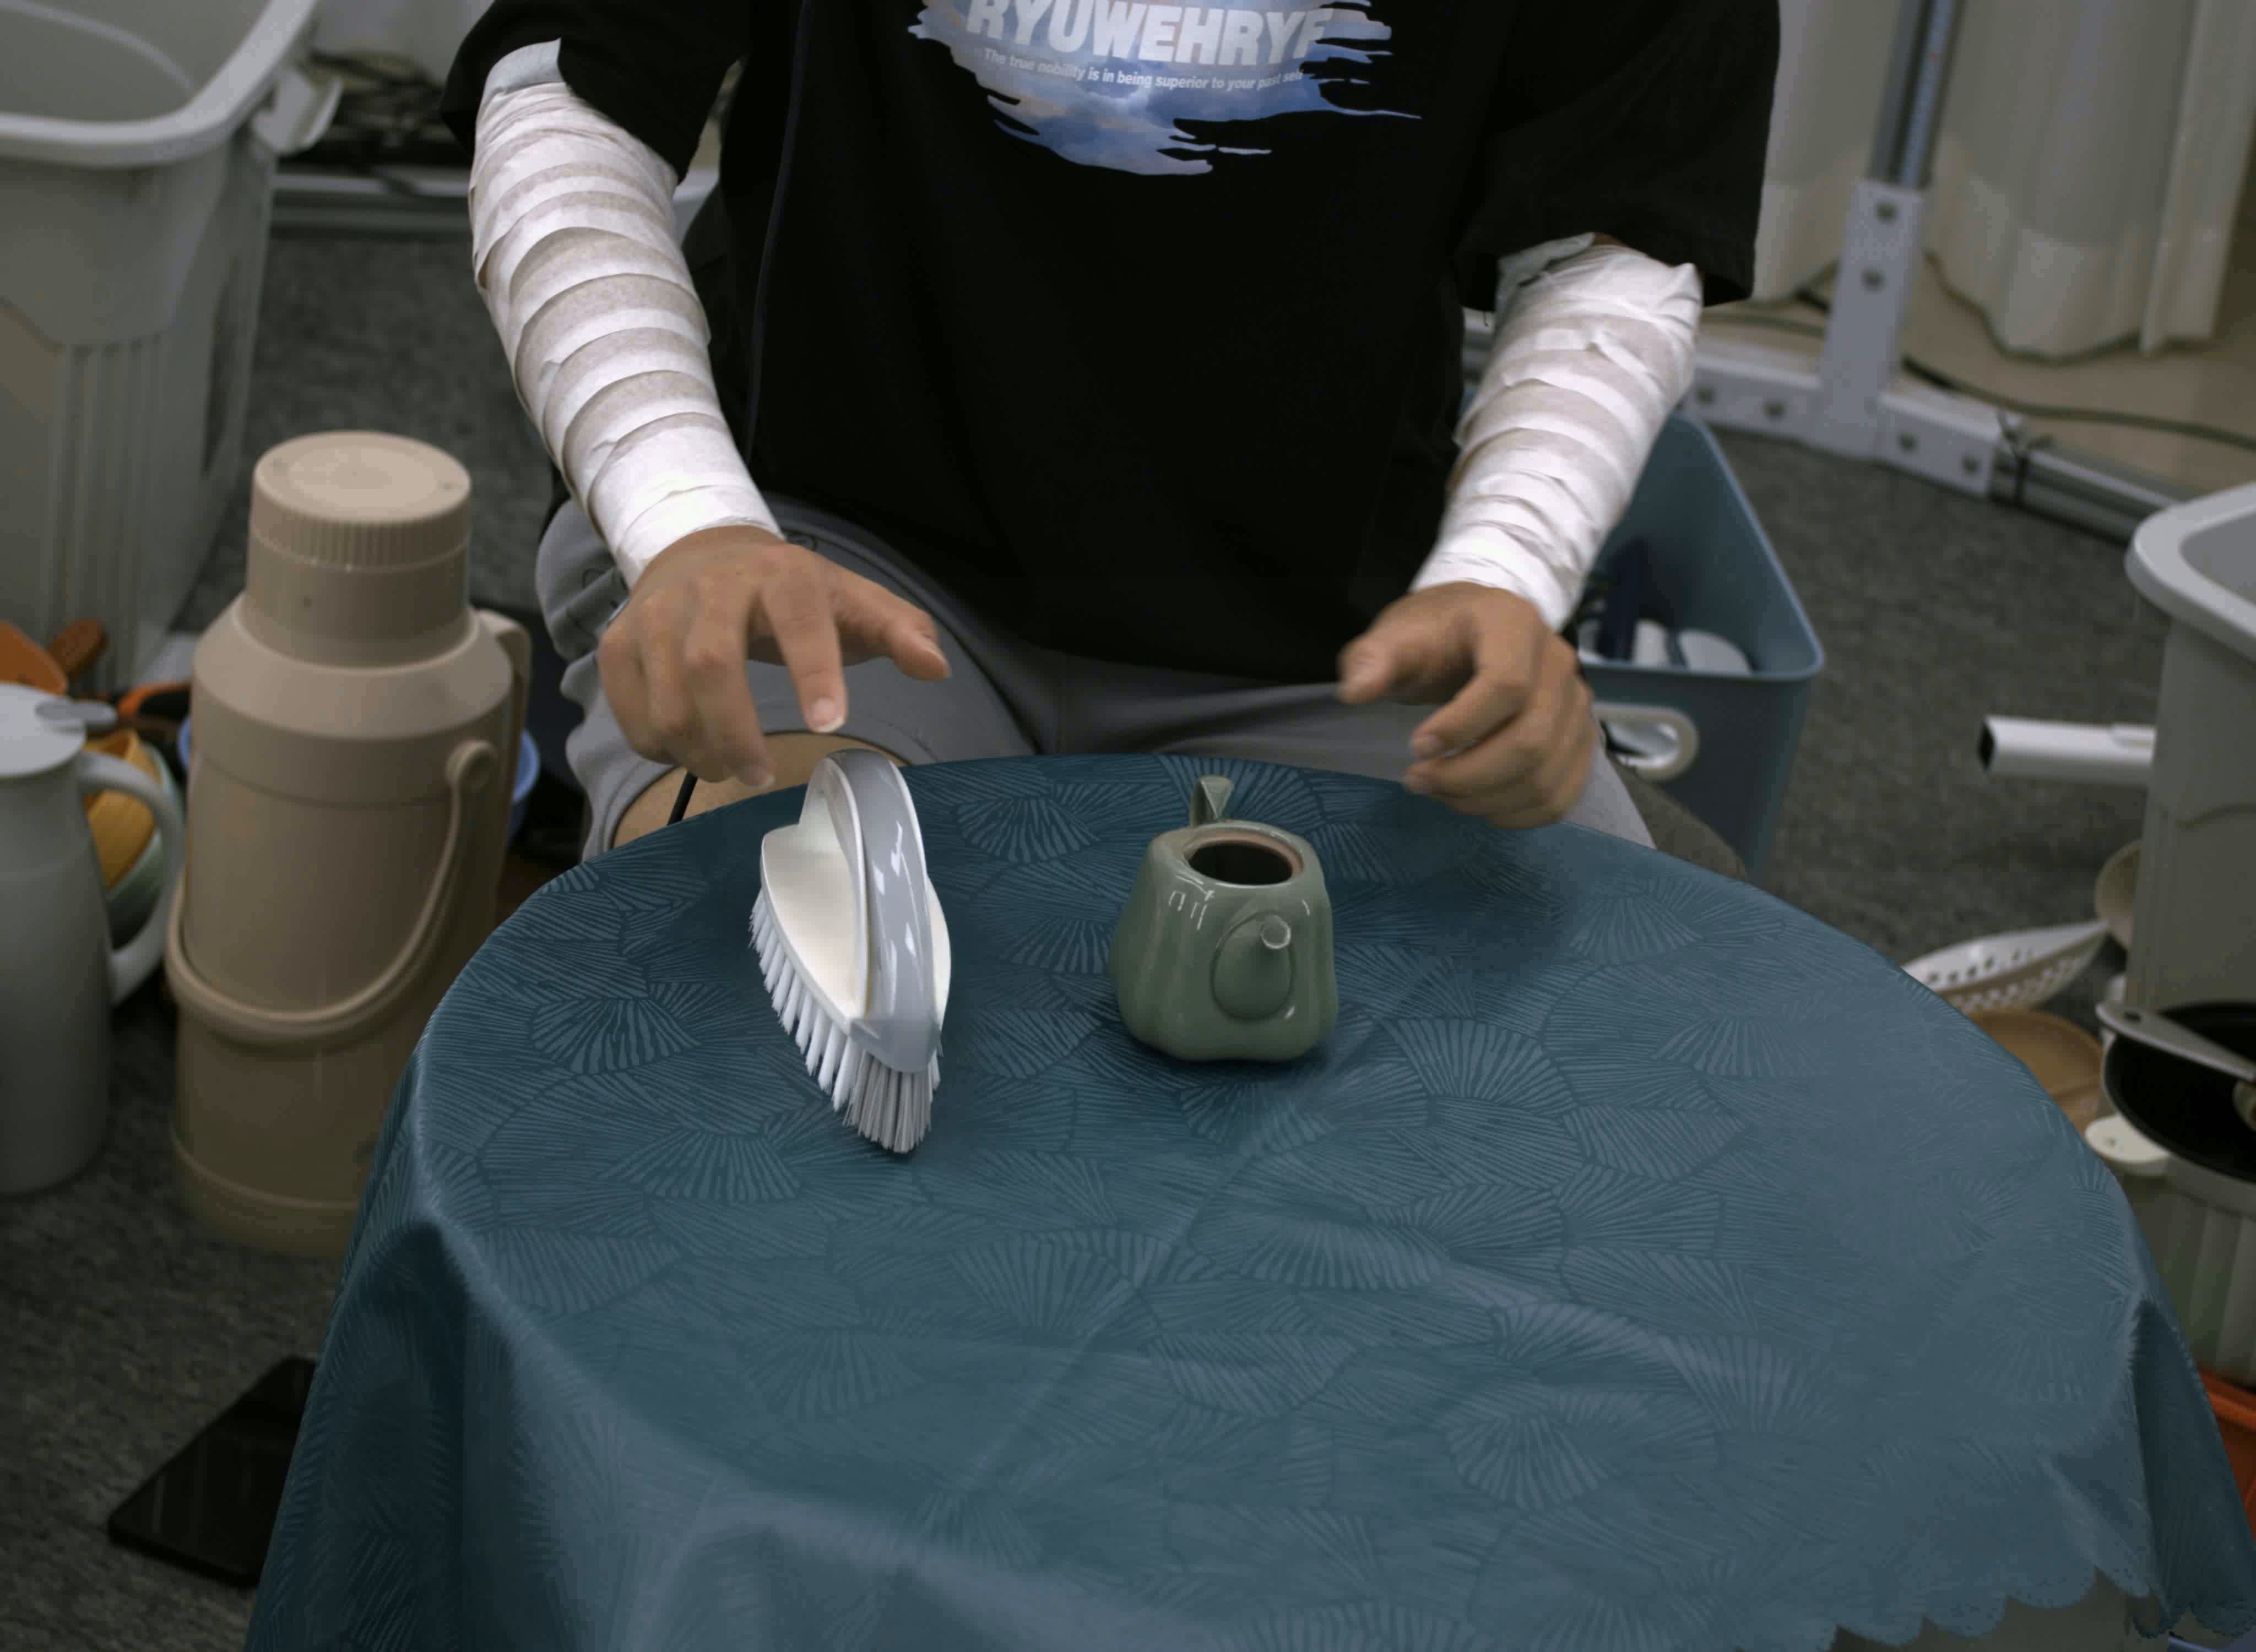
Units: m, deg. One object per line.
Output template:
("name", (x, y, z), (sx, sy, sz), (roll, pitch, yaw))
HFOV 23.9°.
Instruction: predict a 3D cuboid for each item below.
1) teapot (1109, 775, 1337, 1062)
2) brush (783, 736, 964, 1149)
("teapot", (0.036, 0.039, 1.900), (0.079, 0.075, 0.133), (2, 26, -10))
("brush", (-0.085, 0.033, 1.863), (0.061, 0.094, 0.177), (-3, 30, -9))
